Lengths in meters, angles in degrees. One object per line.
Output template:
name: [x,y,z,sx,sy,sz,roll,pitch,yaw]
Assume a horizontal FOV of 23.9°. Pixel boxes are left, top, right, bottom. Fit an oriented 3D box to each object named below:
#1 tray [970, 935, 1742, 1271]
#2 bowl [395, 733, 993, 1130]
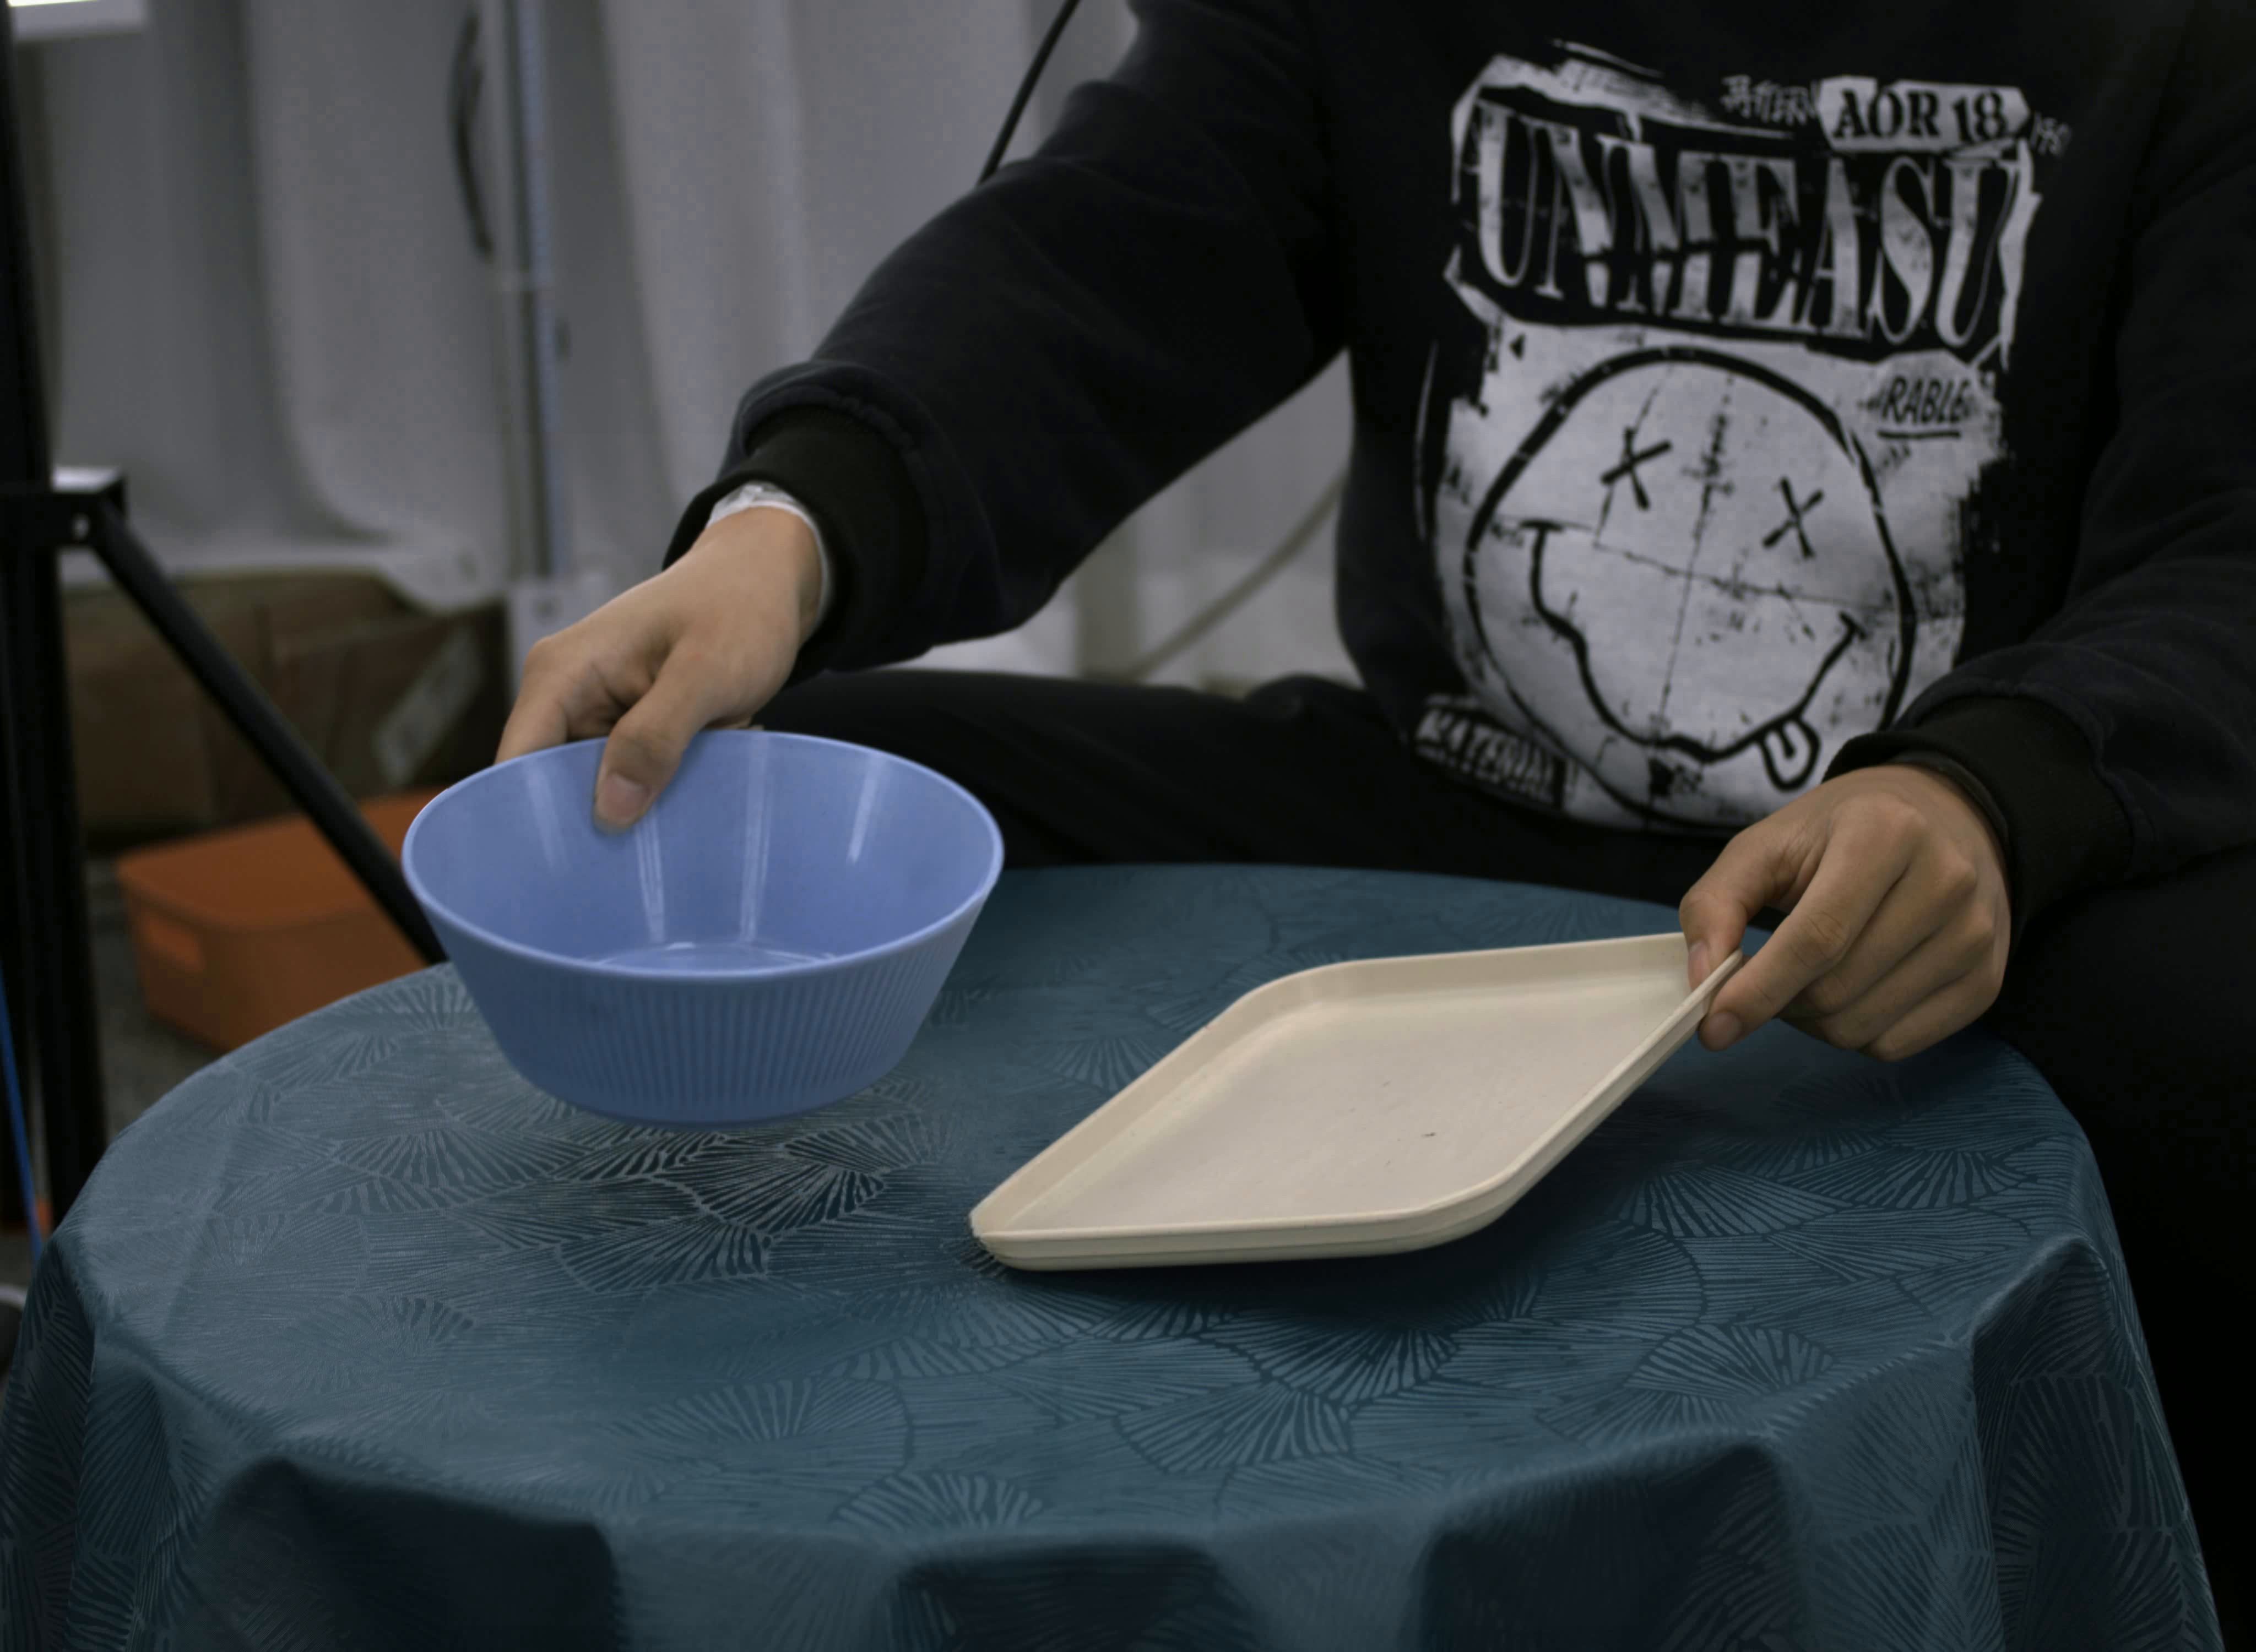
tray: [0.071,0.081,1.551,0.174,0.017,0.236,-5,15,30]
bowl: [-0.128,0.035,1.575,0.175,0.070,0.177,1,24,-2]
